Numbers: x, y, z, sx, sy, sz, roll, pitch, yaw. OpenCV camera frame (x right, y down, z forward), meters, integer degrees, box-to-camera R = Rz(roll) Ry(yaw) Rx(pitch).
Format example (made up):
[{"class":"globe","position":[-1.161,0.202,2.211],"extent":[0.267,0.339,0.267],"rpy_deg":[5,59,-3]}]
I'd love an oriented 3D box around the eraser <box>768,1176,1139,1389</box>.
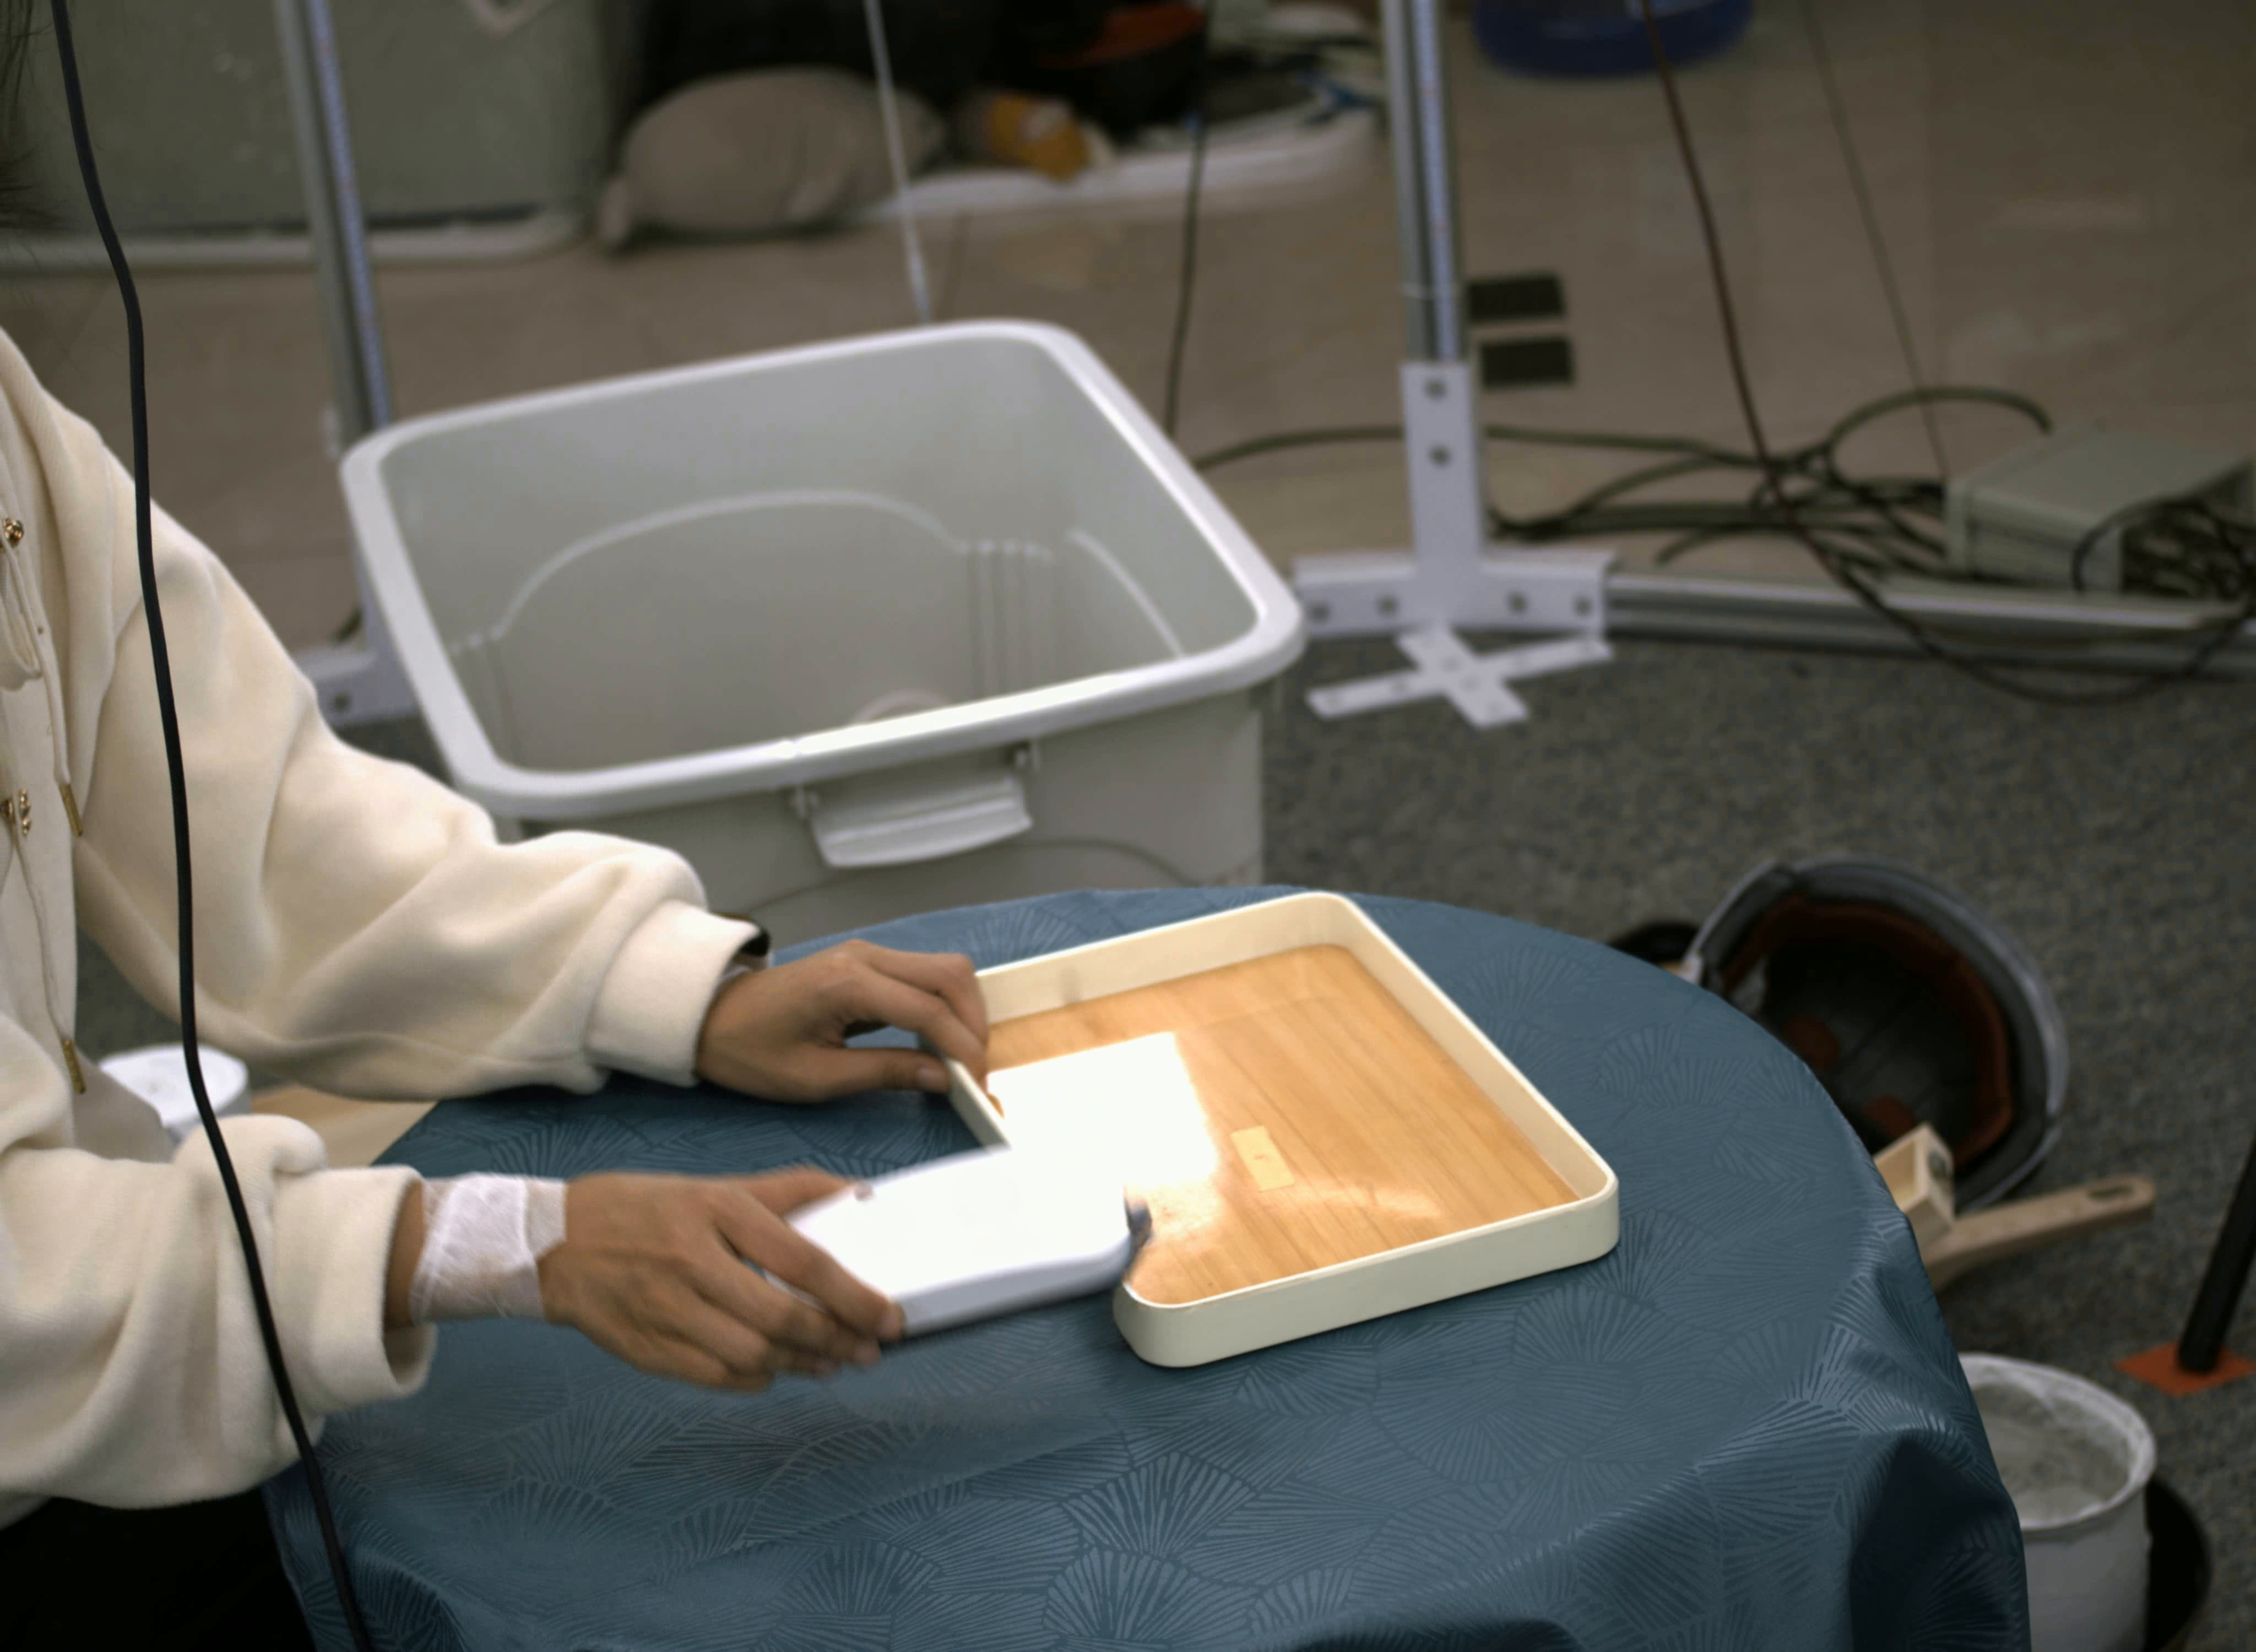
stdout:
[{"class":"eraser","position":[-0.061,0.157,1.979],"extent":[0.131,0.035,0.062],"rpy_deg":[-11,38,8]}]

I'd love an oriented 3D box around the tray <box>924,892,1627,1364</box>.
[{"class":"tray","position":[0.051,0.110,2.165],"extent":[0.191,0.028,0.296],"rpy_deg":[-13,26,-14]}]
